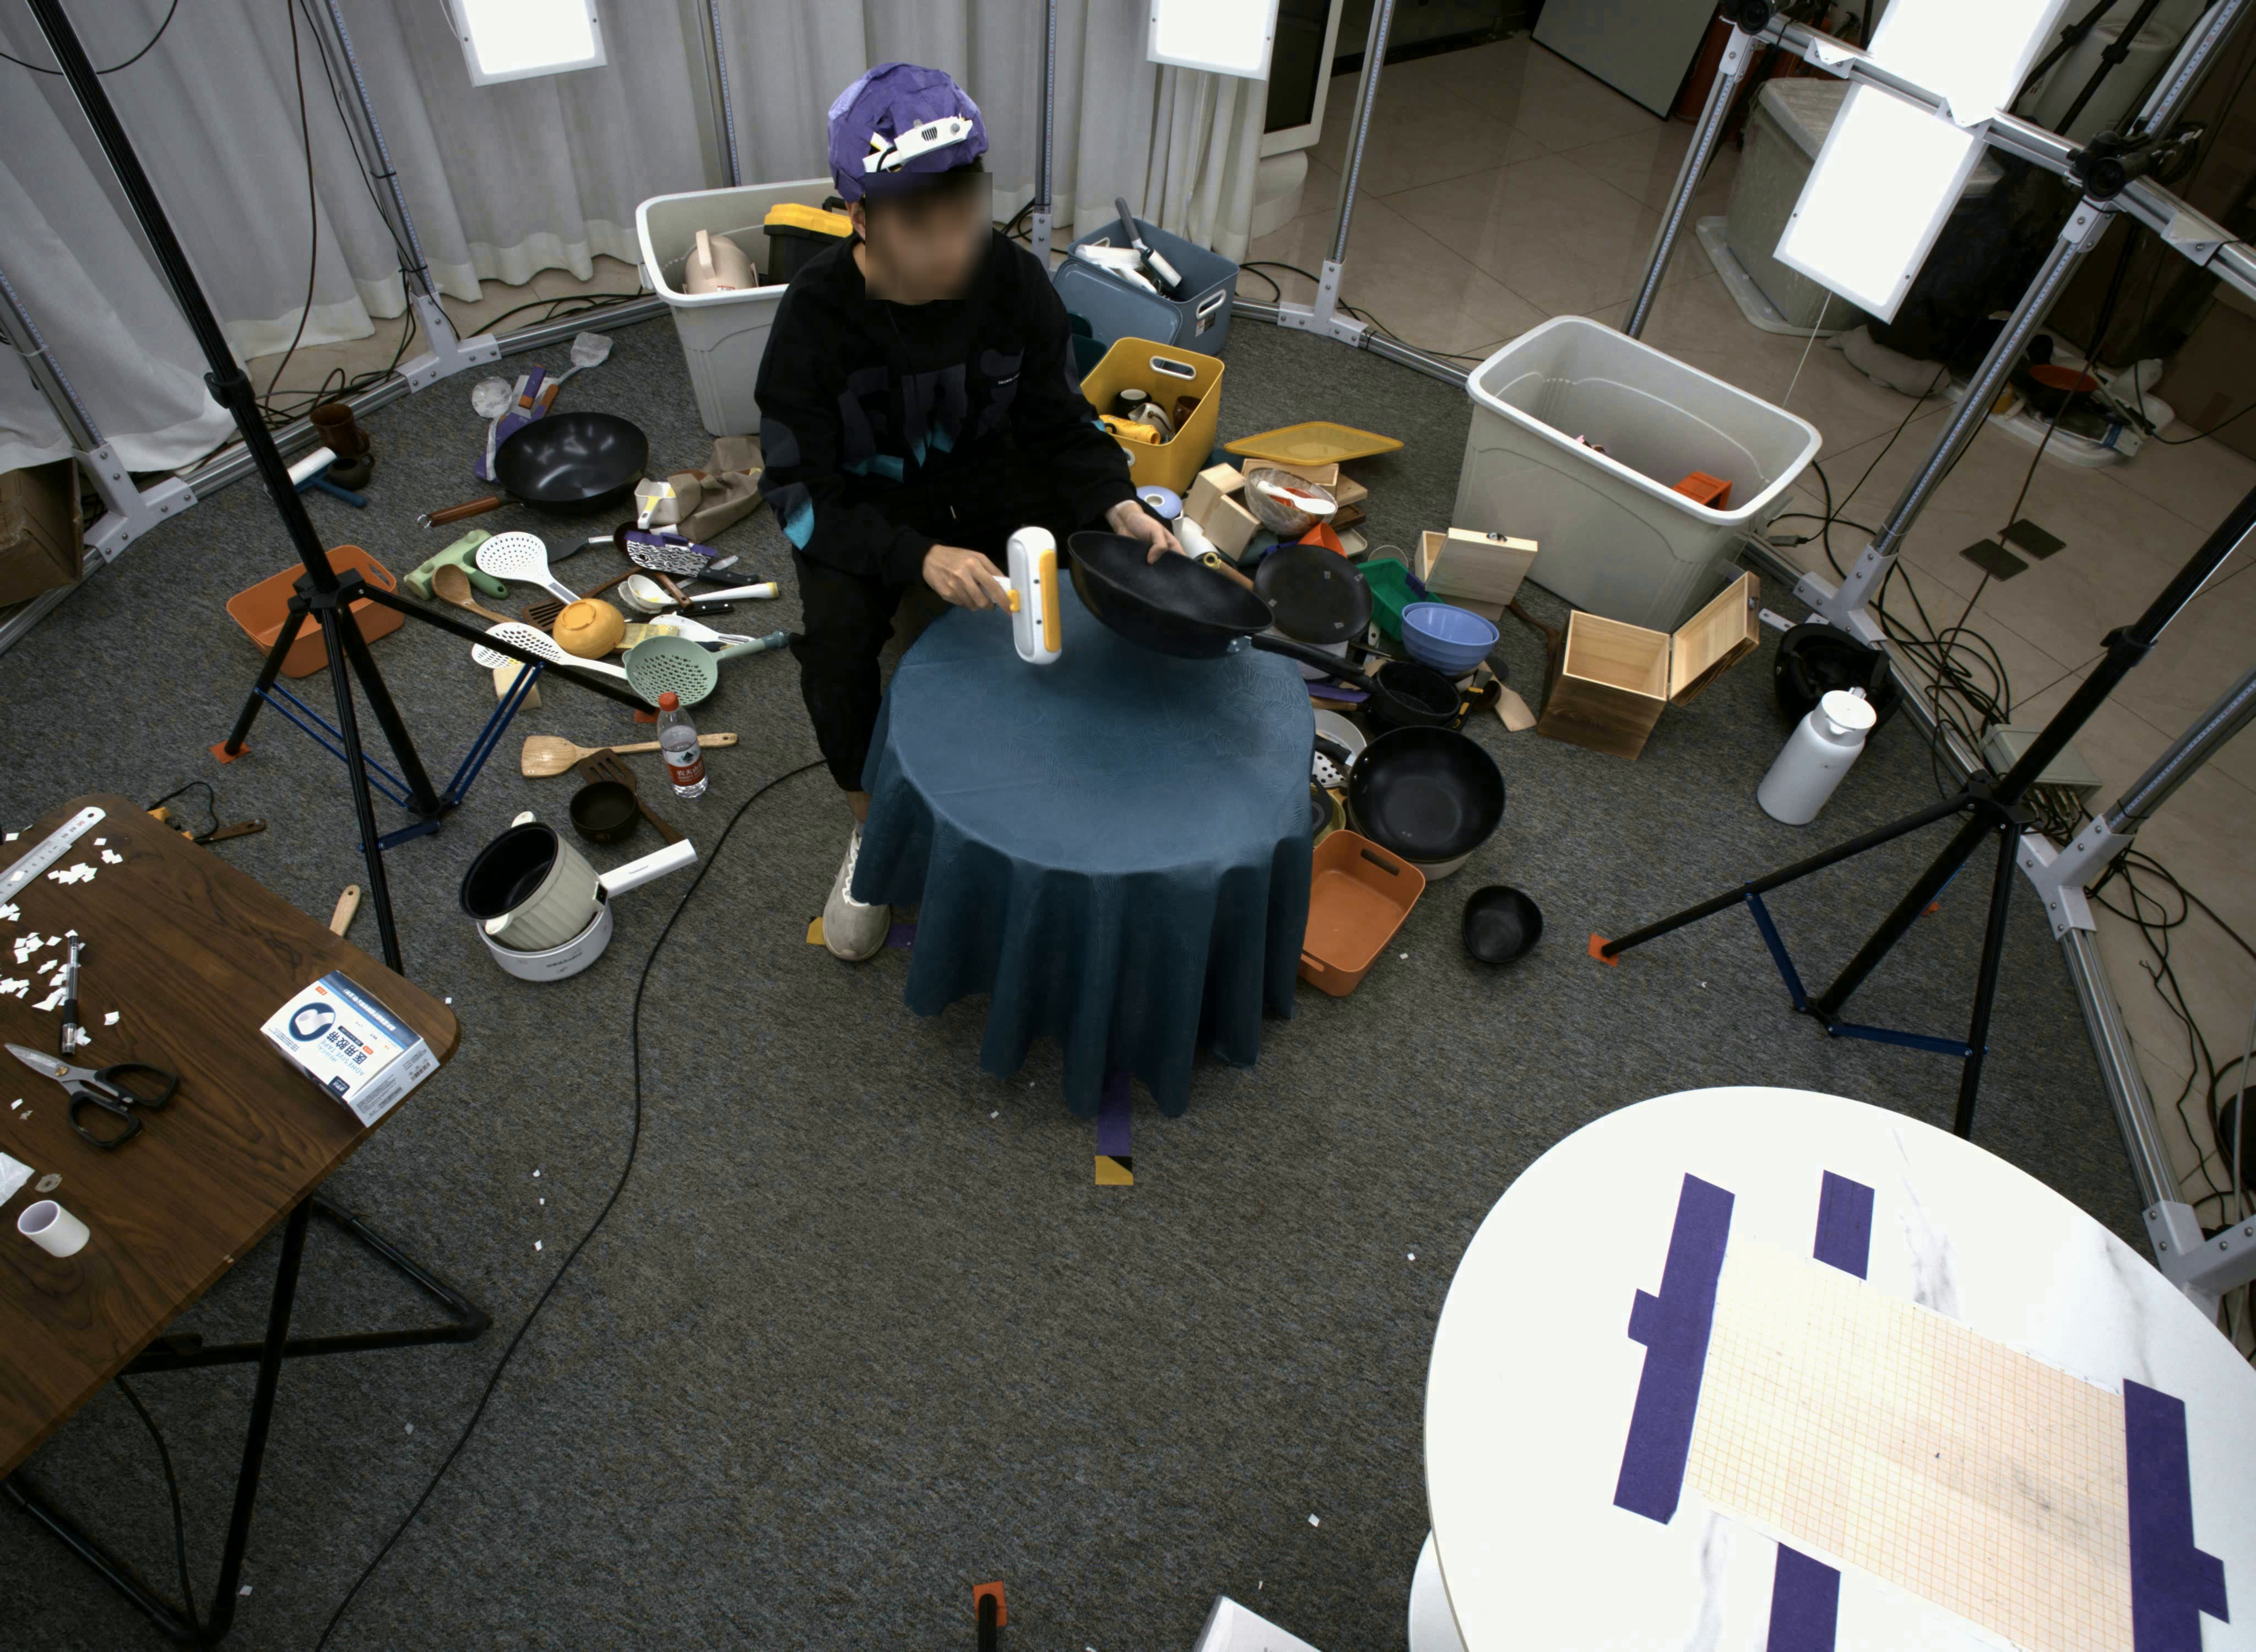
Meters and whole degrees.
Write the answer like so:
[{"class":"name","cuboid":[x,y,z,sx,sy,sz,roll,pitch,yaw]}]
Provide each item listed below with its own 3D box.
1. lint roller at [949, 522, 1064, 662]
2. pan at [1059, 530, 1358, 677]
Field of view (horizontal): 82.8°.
[{"class":"lint roller","cuboid":[-0.173,-0.333,1.819,0.074,0.189,0.194,-27,30,-37]},{"class":"pan","cuboid":[0.102,-0.276,1.750,0.484,0.110,0.310,36,29,30]}]
